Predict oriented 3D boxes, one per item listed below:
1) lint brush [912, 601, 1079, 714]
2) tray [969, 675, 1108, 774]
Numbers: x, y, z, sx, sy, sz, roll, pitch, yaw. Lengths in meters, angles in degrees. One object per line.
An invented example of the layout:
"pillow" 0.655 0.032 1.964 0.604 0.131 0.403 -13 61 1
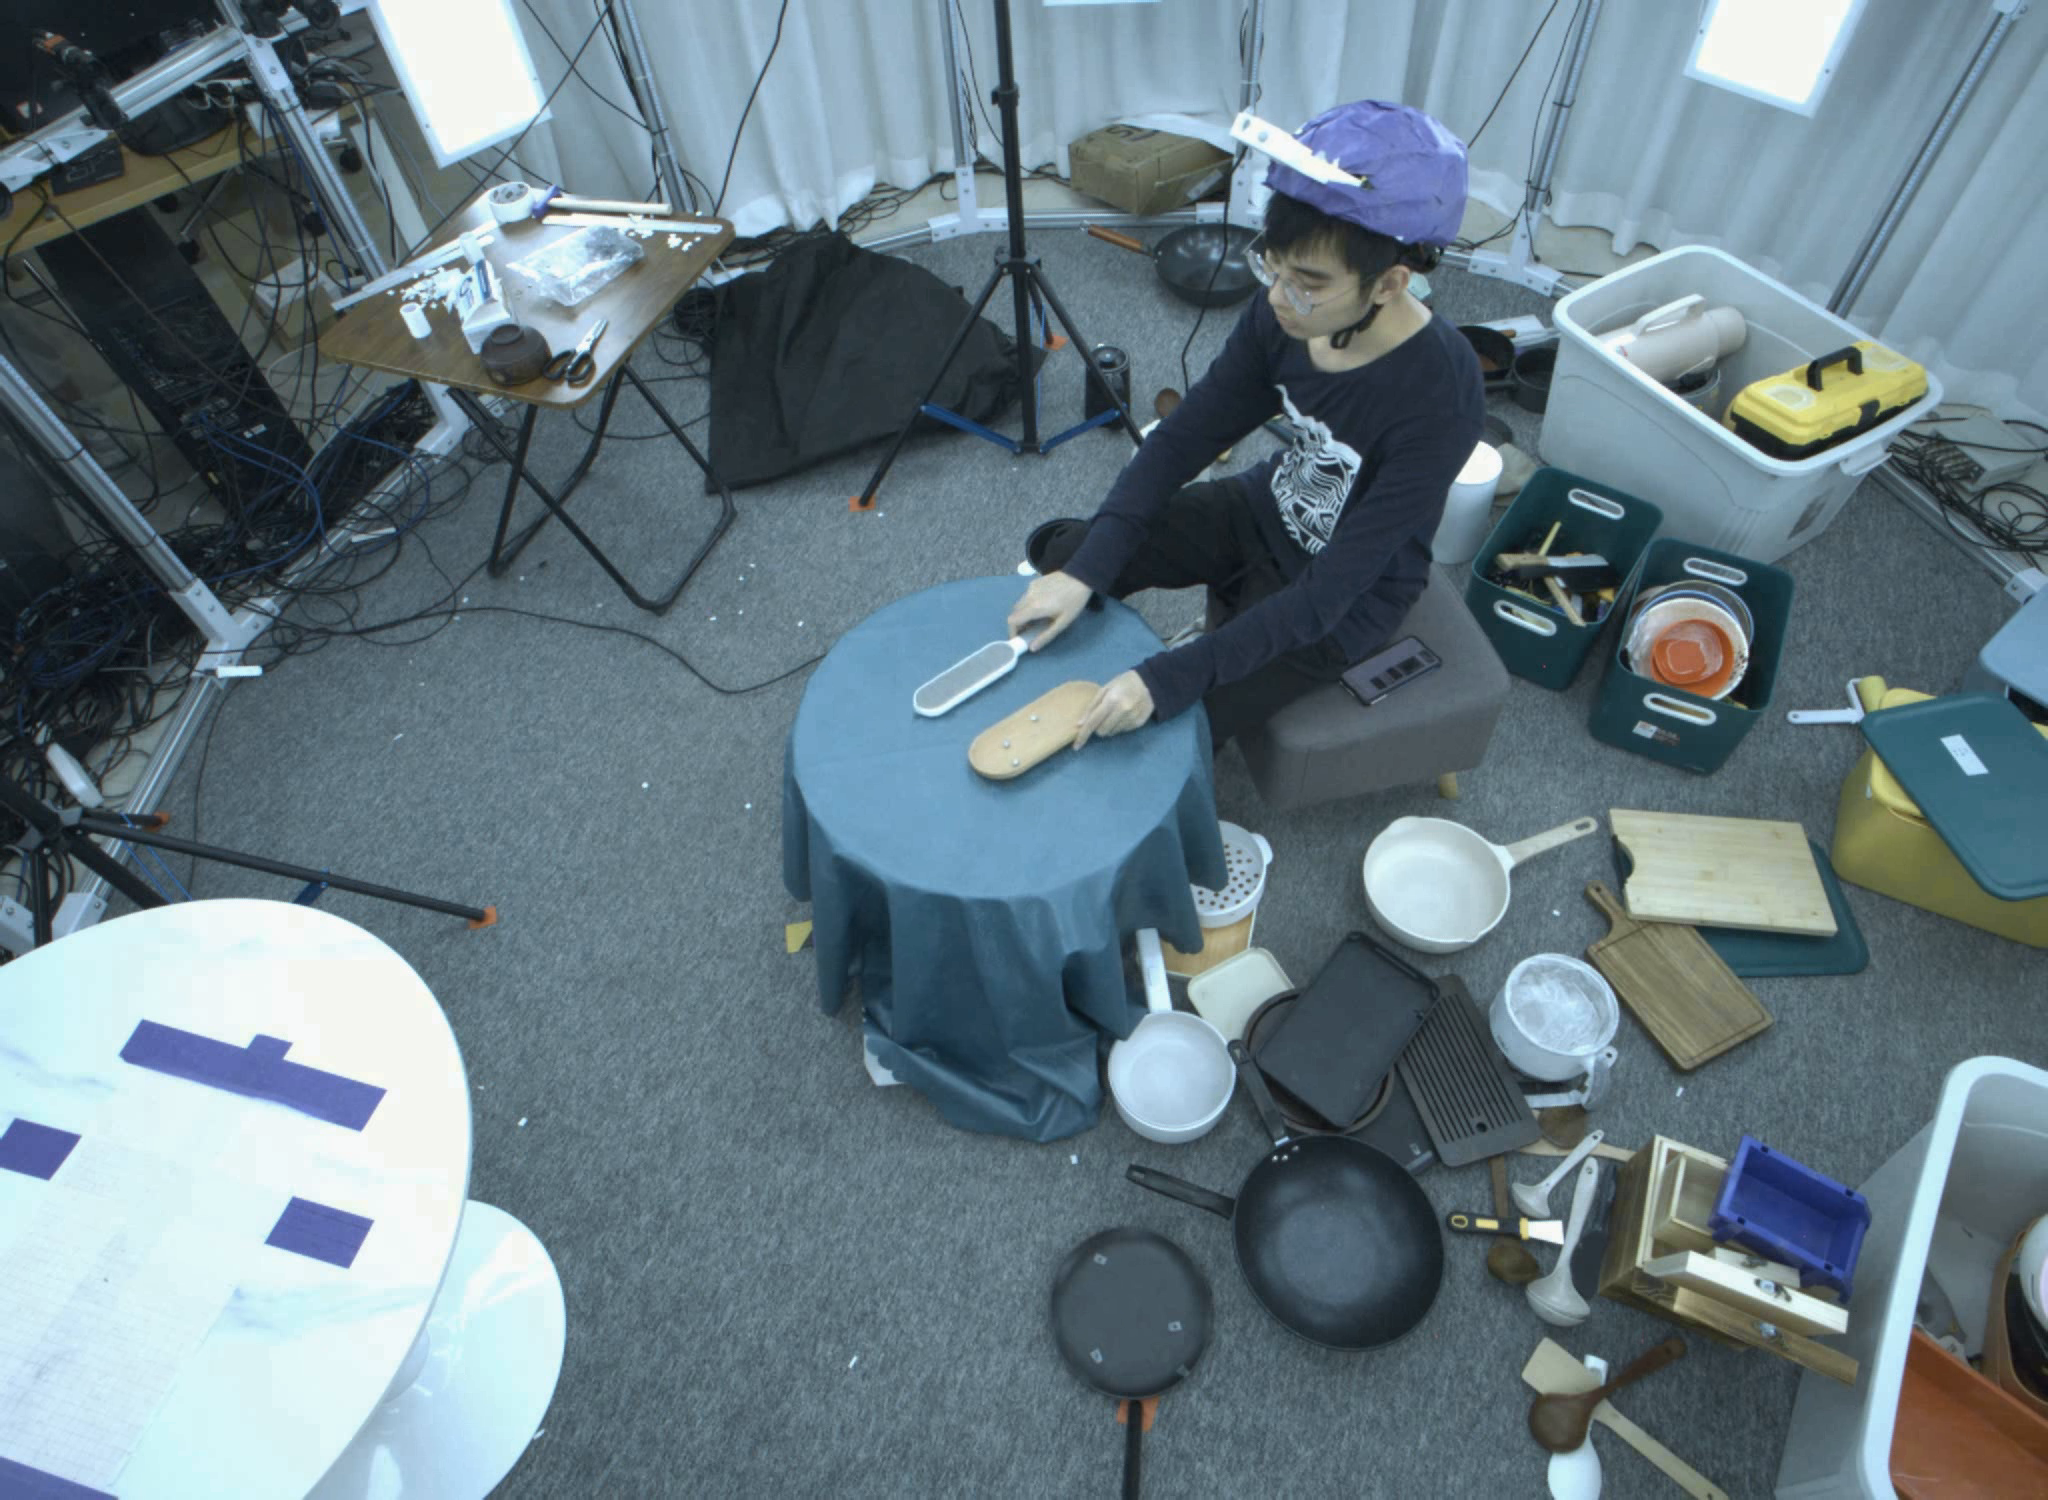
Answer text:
"lint brush" -0.039 -0.144 1.876 0.311 0.021 0.059 -34 52 -18
"tray" 0.022 -0.038 1.801 0.233 0.020 0.099 -32 52 -22
